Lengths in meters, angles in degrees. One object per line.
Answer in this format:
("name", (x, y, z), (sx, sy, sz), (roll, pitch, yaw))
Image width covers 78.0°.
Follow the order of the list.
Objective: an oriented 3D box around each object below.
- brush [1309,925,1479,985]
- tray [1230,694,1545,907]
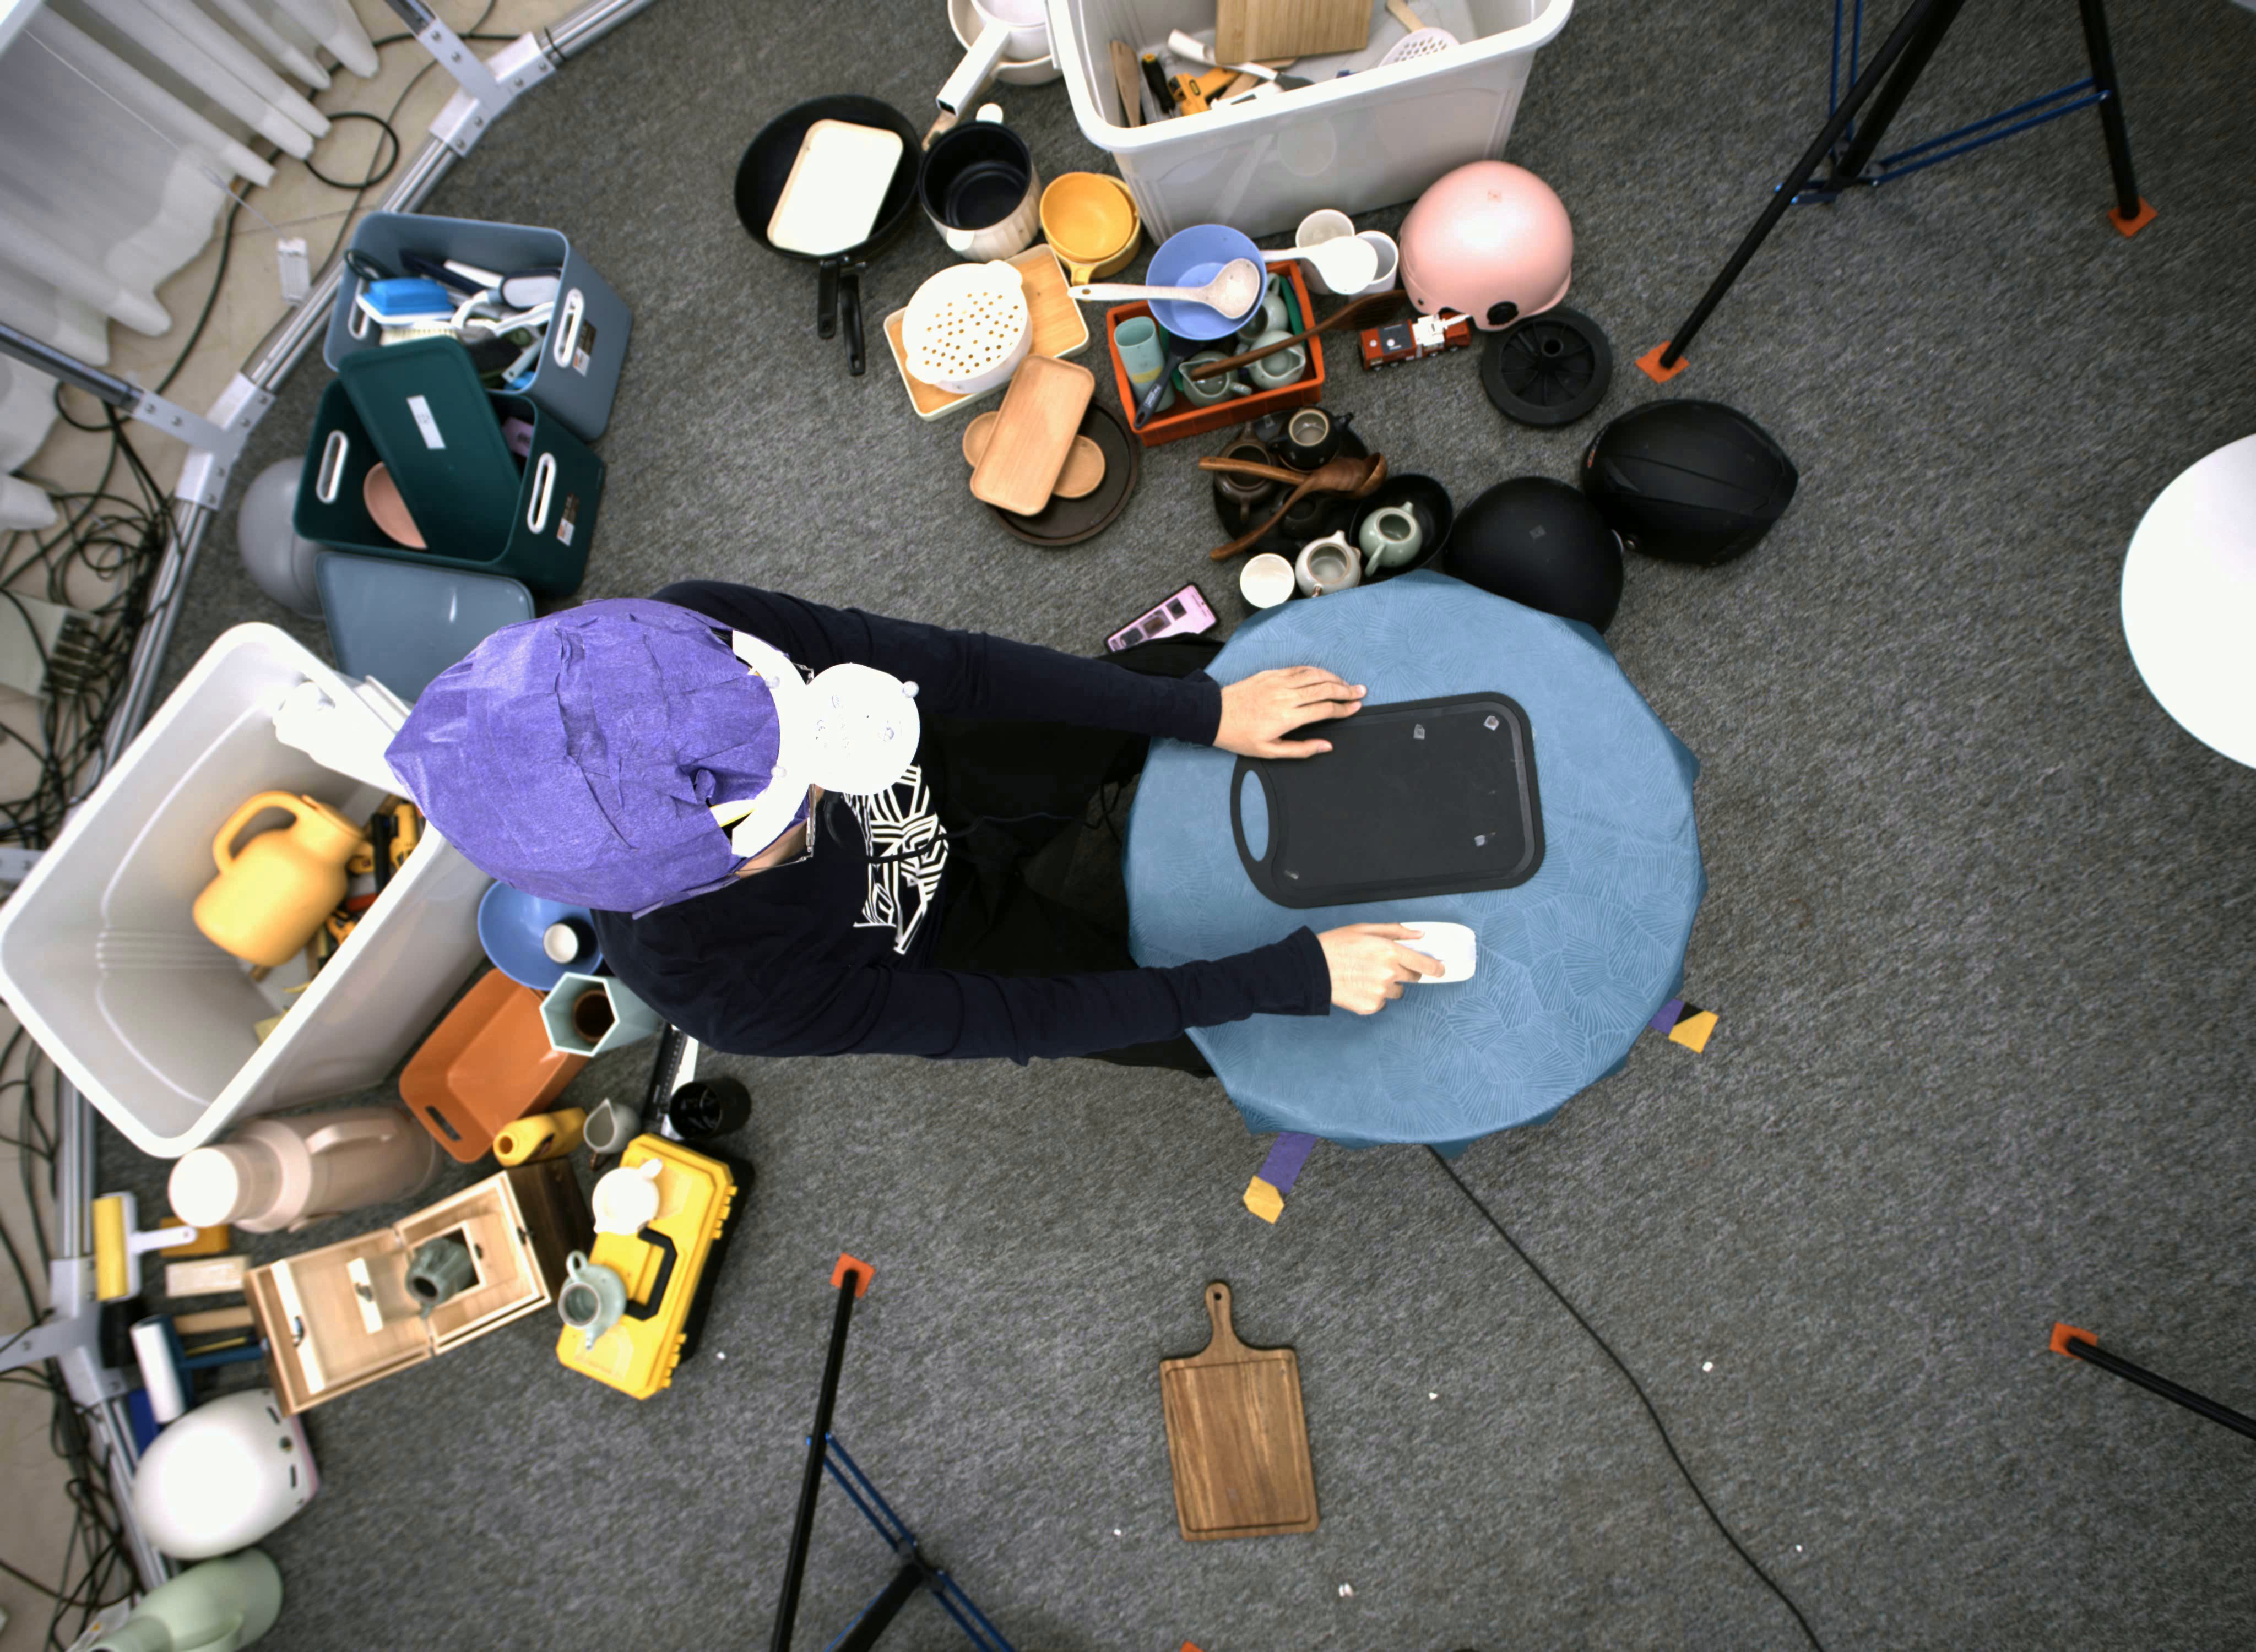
("brush", (0.270, 0.129, 1.409), (0.176, 0.094, 0.061), (0, 84, 13))
("tray", (0.270, -0.027, 1.460), (0.327, 0.010, 0.210), (-5, 86, 11))
